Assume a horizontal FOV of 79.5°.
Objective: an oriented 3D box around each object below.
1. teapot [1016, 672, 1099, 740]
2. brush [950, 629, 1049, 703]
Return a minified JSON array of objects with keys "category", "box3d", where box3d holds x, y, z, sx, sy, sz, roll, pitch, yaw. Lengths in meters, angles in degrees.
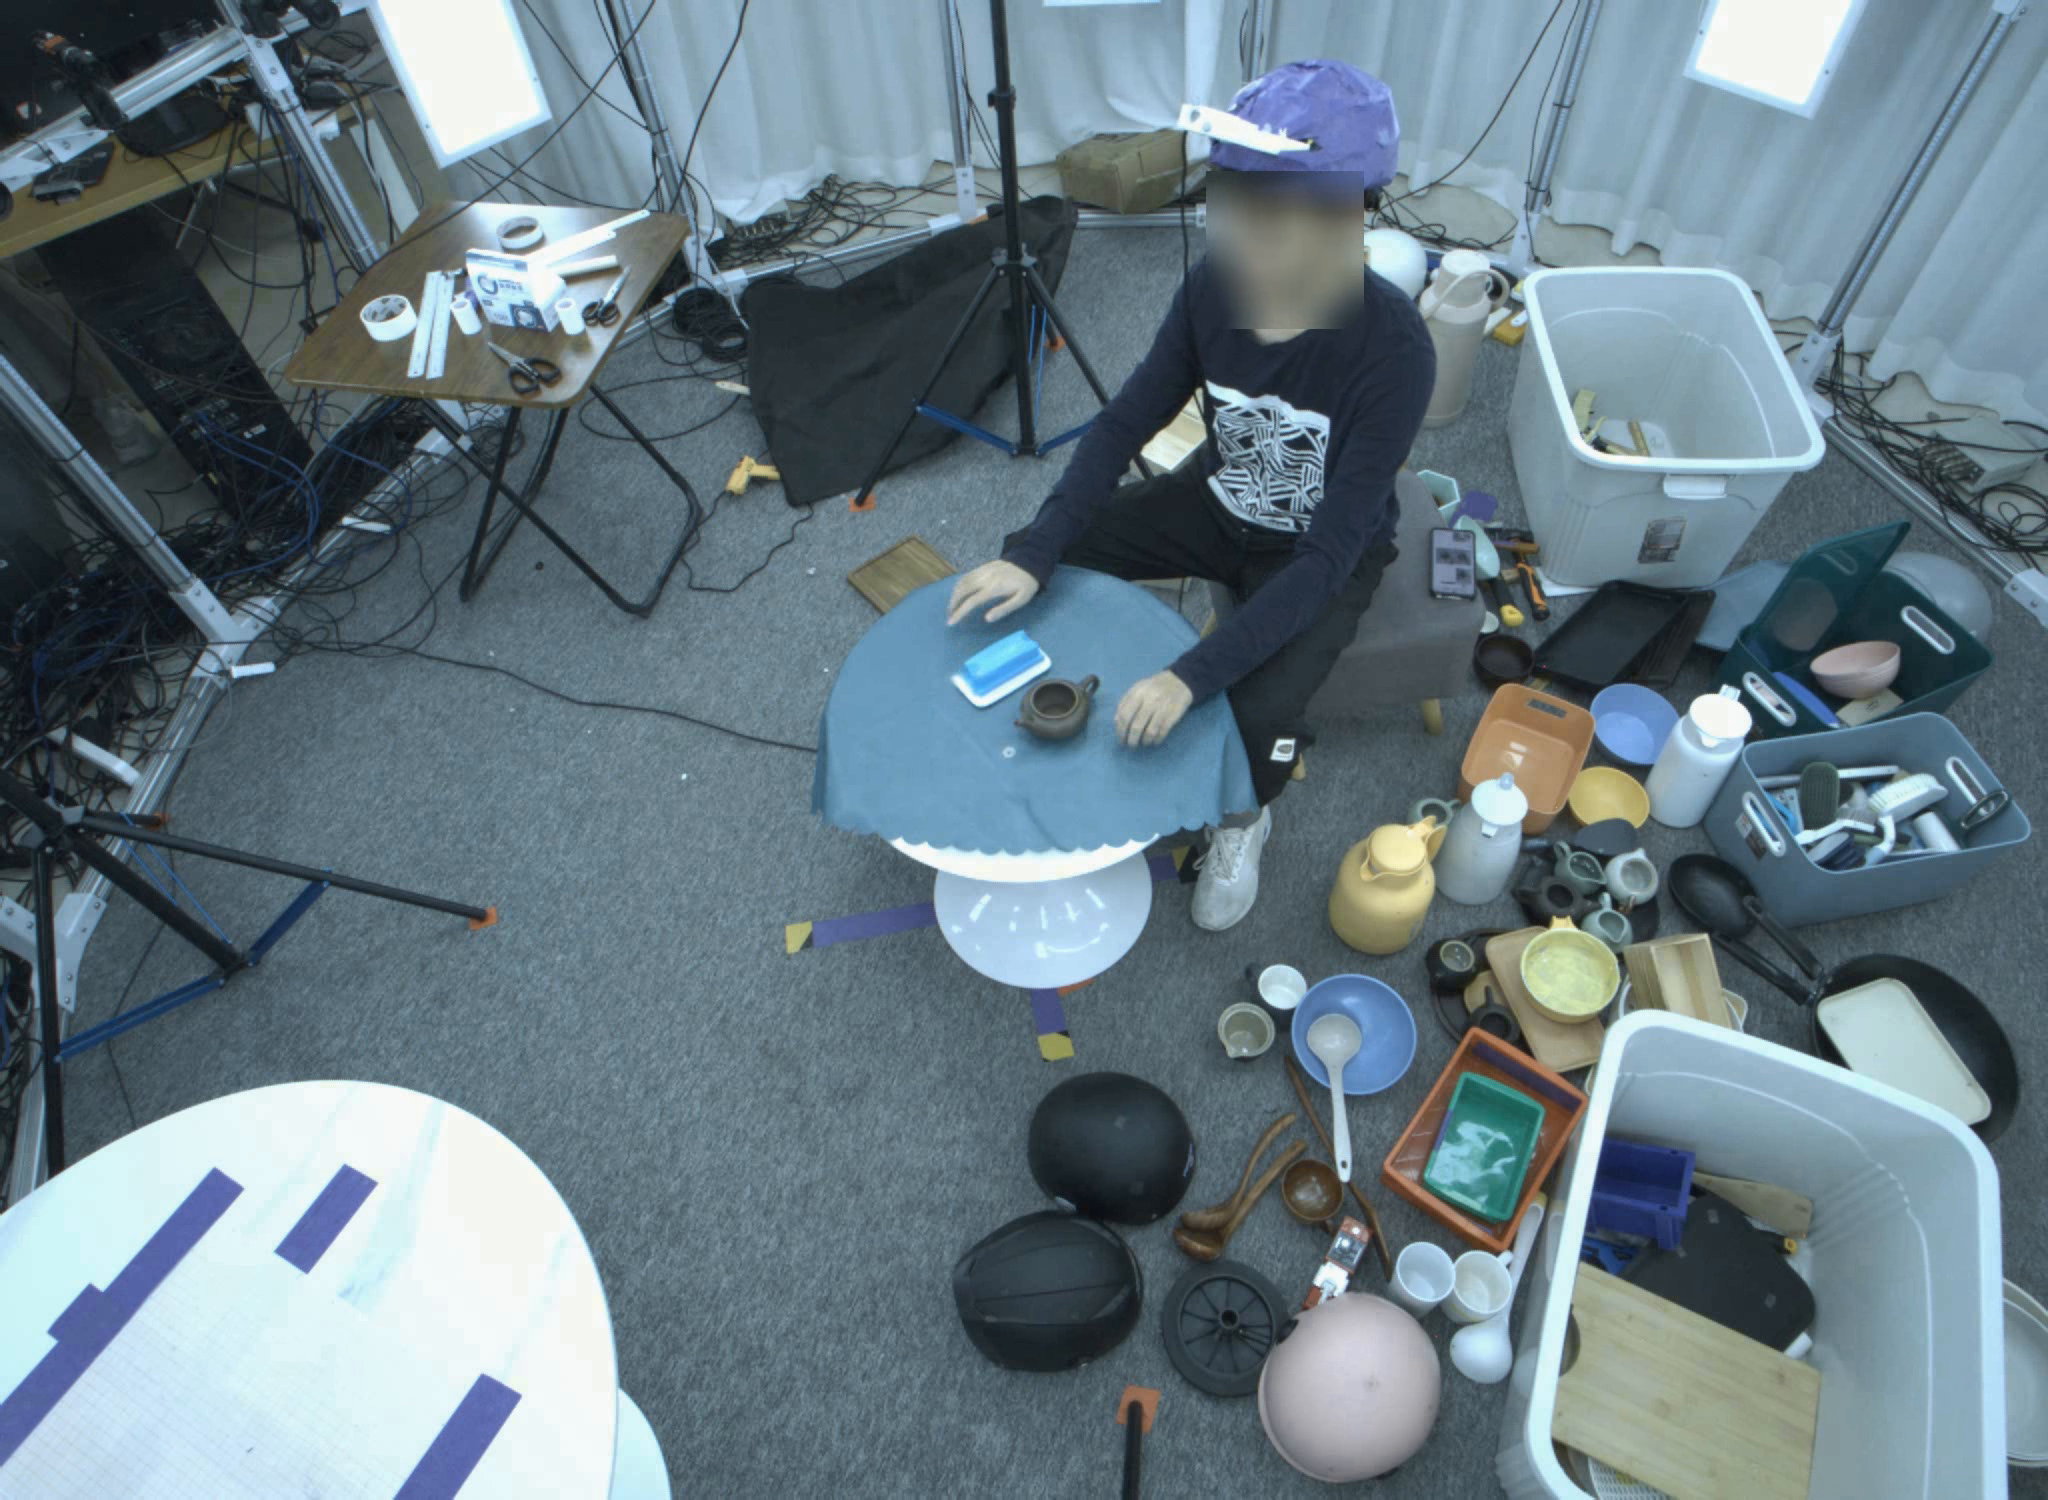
[{"category":"teapot","box3d":[0.049,-0.064,1.791,0.154,0.054,0.101,-39,62,-23]},{"category":"brush","box3d":[-0.038,-0.134,1.855,0.145,0.056,0.082,-29,66,-16]}]
